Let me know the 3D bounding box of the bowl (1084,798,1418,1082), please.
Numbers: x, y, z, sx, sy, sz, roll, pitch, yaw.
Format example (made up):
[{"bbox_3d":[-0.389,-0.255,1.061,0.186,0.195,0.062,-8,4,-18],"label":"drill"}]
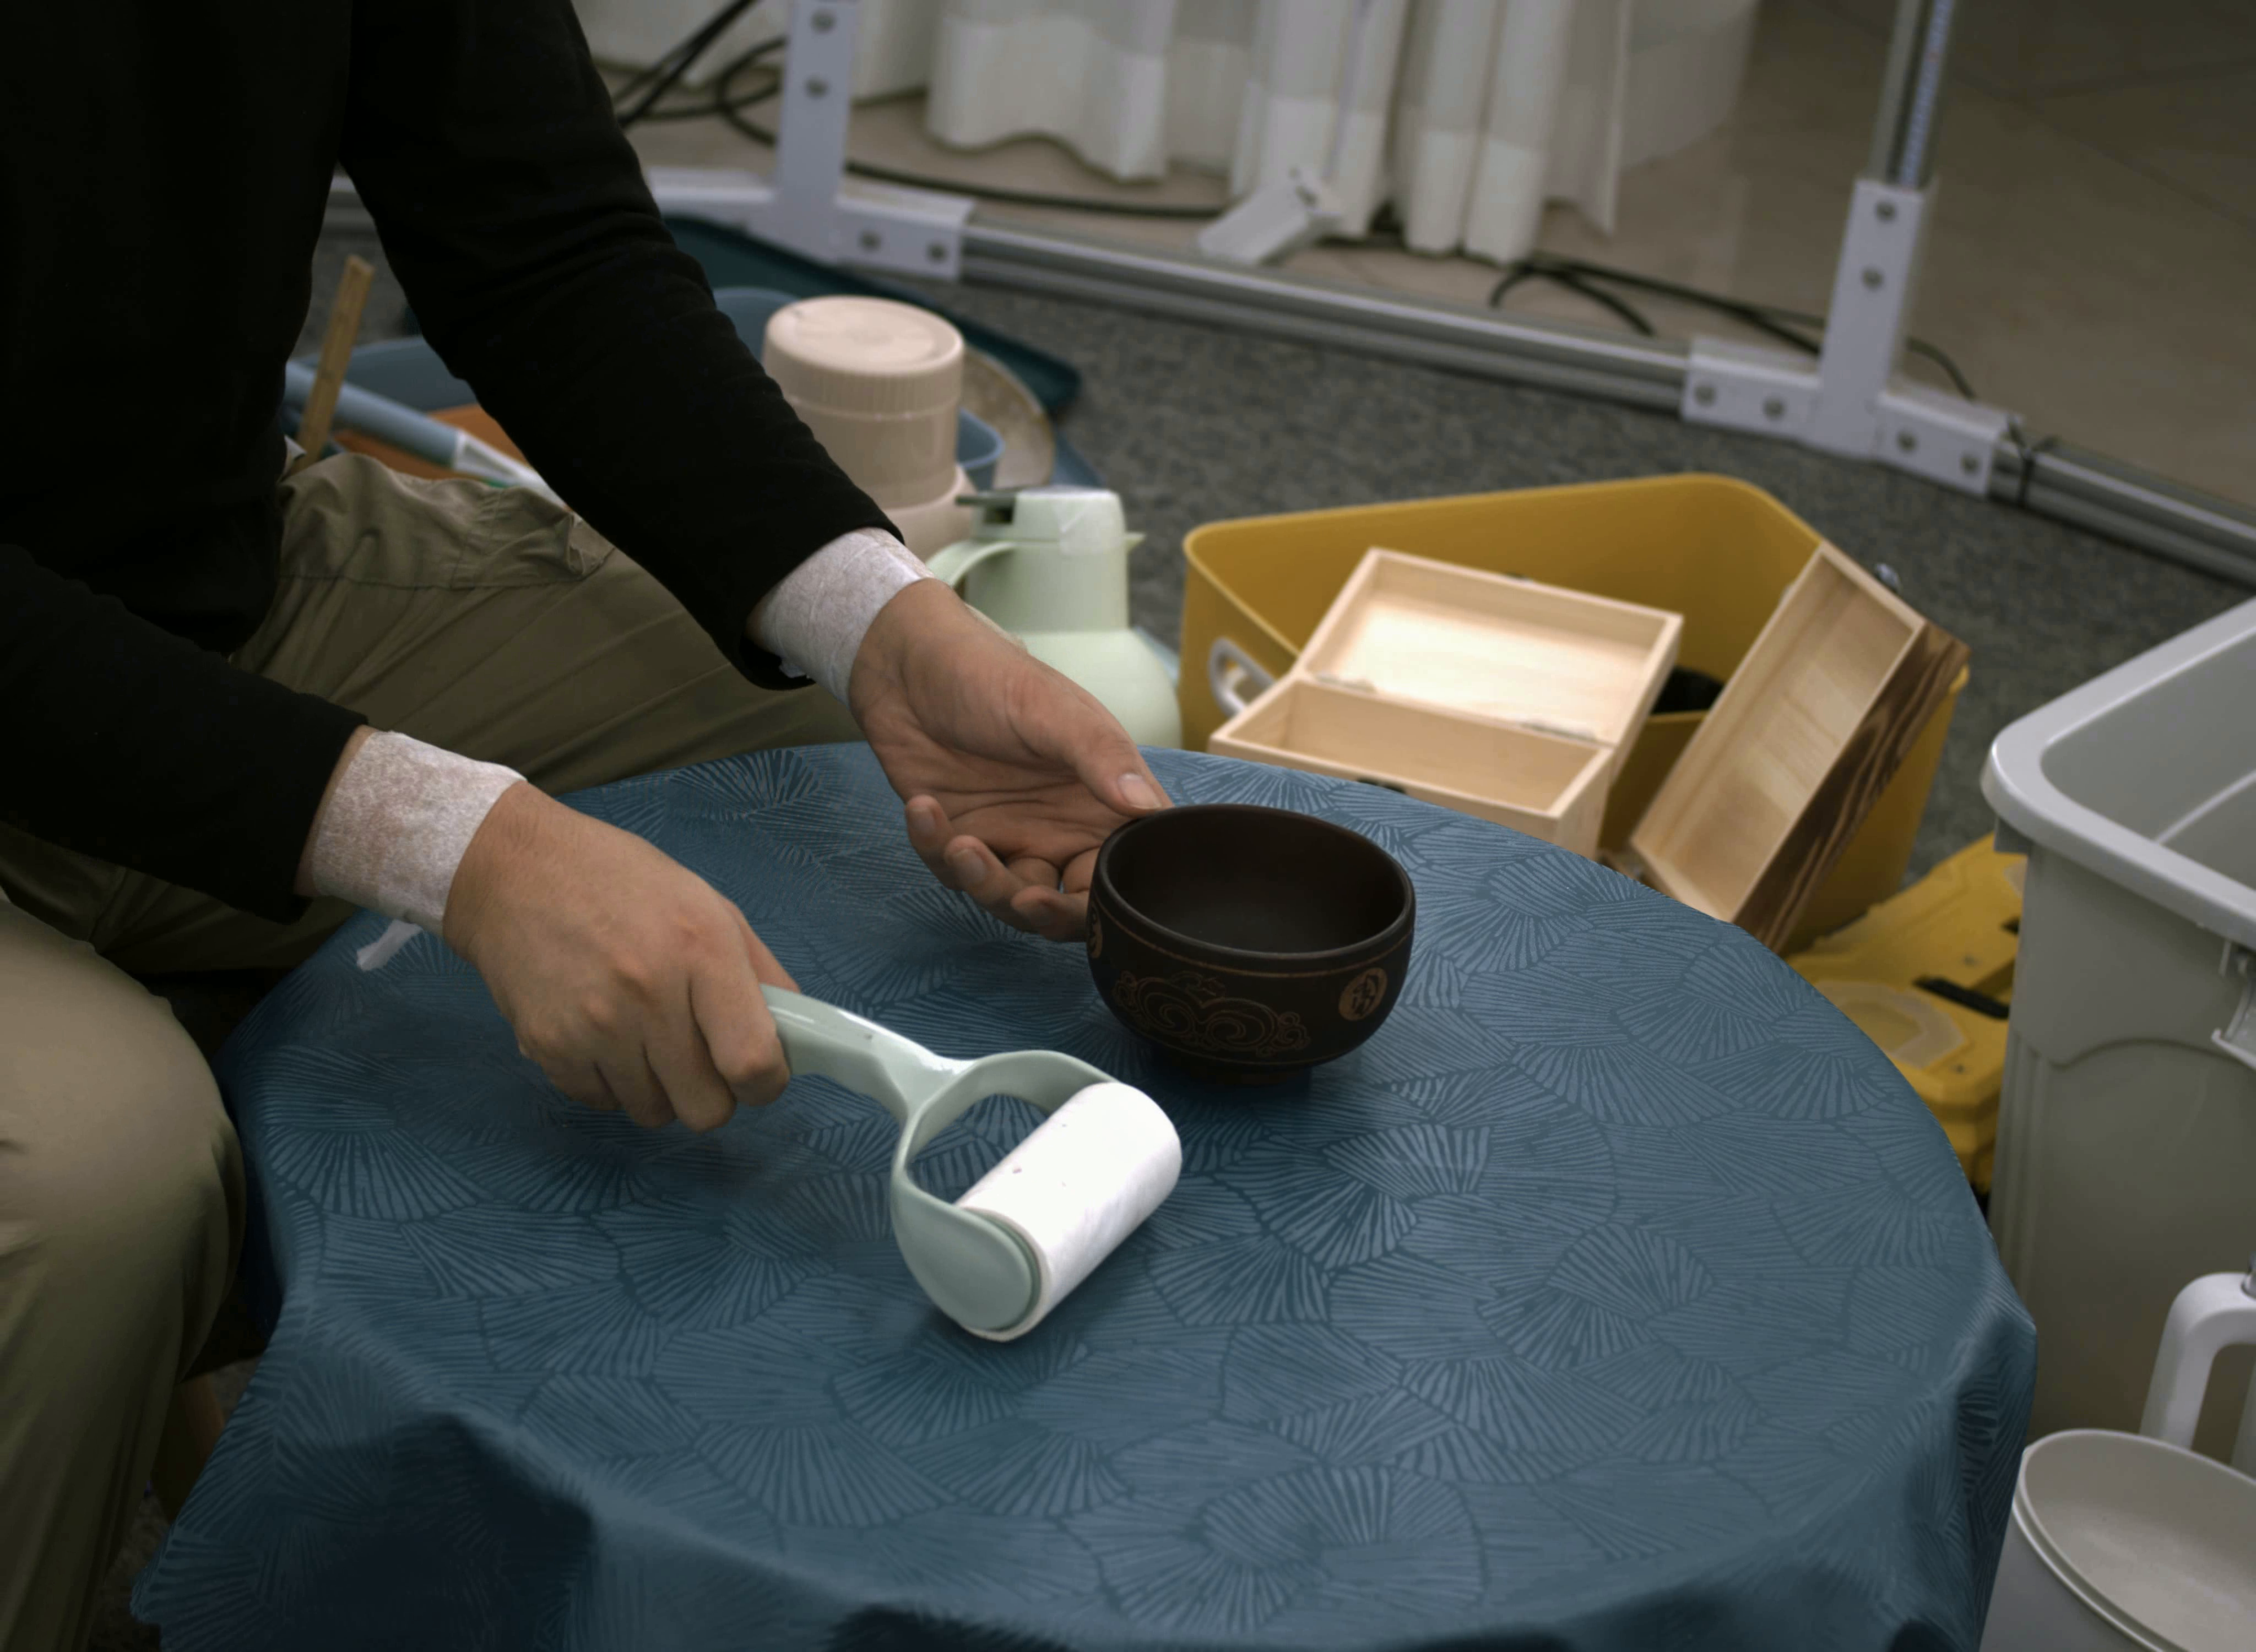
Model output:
[{"bbox_3d":[0.042,0.047,1.883,0.117,0.069,0.119,4,27,-2],"label":"bowl"}]

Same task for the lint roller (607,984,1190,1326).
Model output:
[{"bbox_3d":[-0.083,0.089,1.765,0.198,0.048,0.116,27,32,15],"label":"lint roller"}]
